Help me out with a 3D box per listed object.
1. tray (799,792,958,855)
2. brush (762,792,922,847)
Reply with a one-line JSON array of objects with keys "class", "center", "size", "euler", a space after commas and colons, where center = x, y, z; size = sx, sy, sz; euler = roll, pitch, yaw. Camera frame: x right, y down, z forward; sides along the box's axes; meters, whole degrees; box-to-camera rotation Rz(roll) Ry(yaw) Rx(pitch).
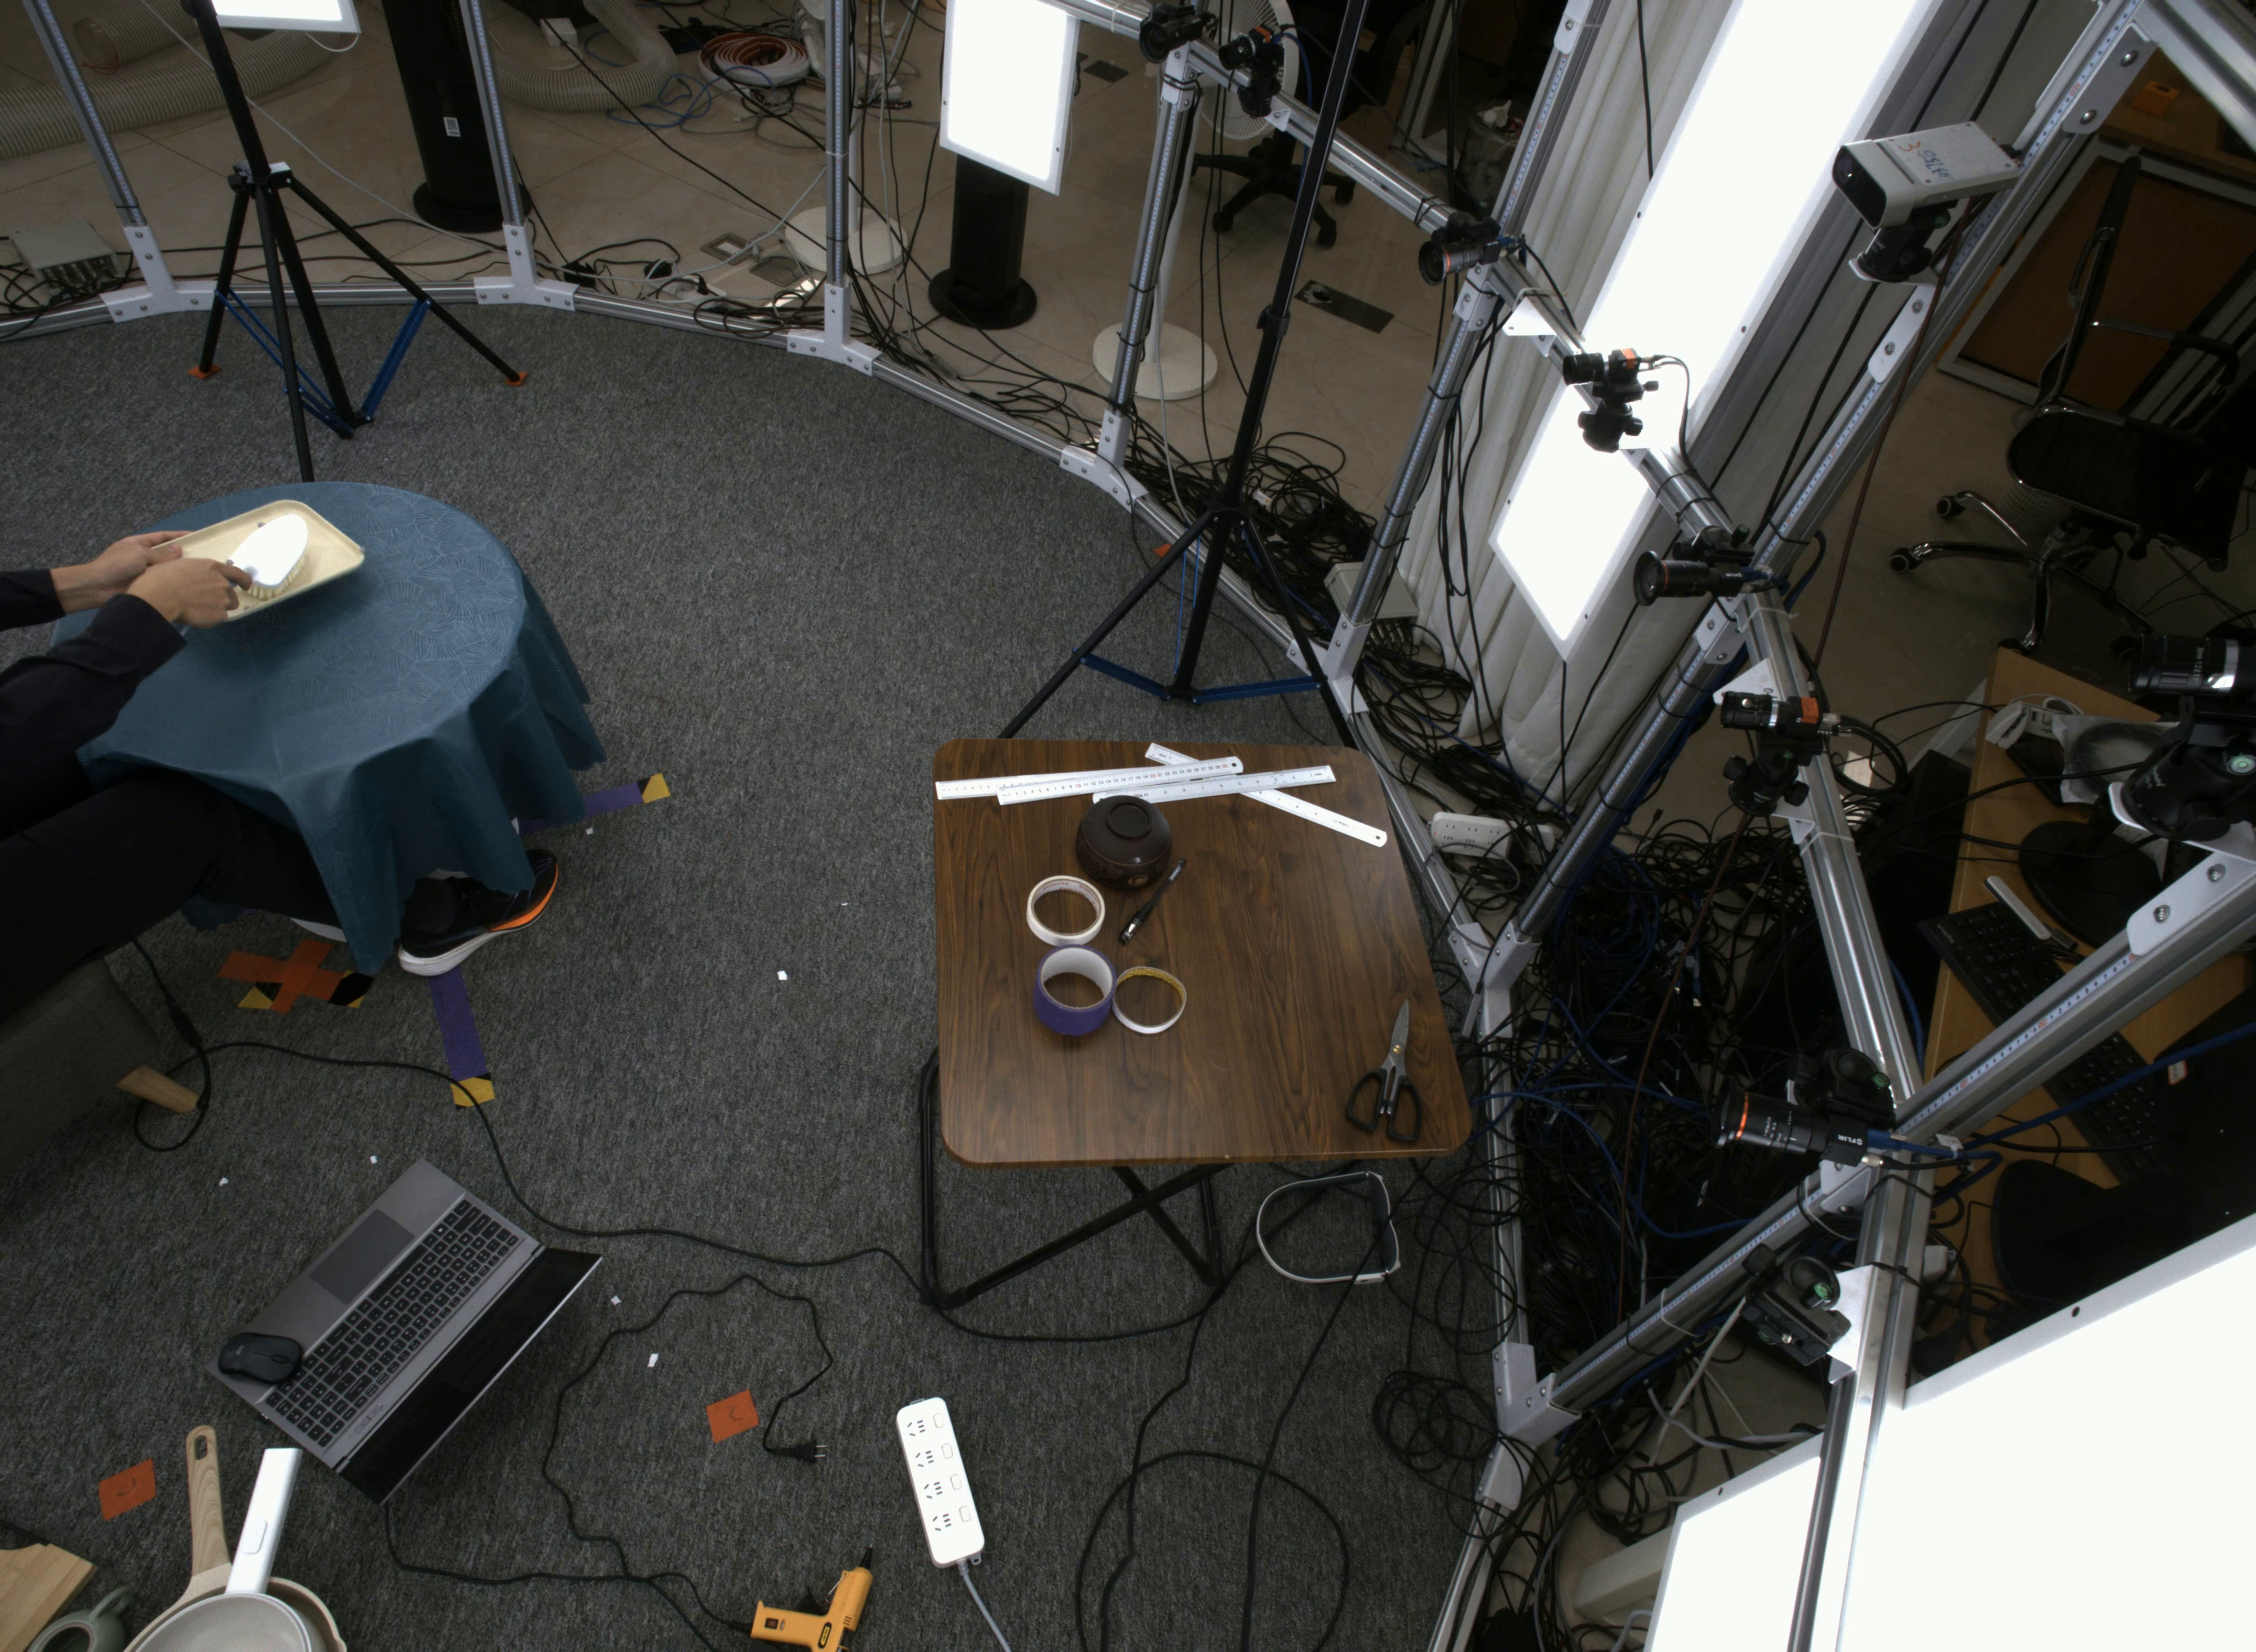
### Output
[{"class": "tray", "center": [-0.401, -0.004, 2.079], "size": [0.243, 0.018, 0.165], "euler": [5, 28, -29]}, {"class": "brush", "center": [-0.439, -0.009, 1.966], "size": [0.080, 0.086, 0.331], "euler": [-1, 2, 32]}]
